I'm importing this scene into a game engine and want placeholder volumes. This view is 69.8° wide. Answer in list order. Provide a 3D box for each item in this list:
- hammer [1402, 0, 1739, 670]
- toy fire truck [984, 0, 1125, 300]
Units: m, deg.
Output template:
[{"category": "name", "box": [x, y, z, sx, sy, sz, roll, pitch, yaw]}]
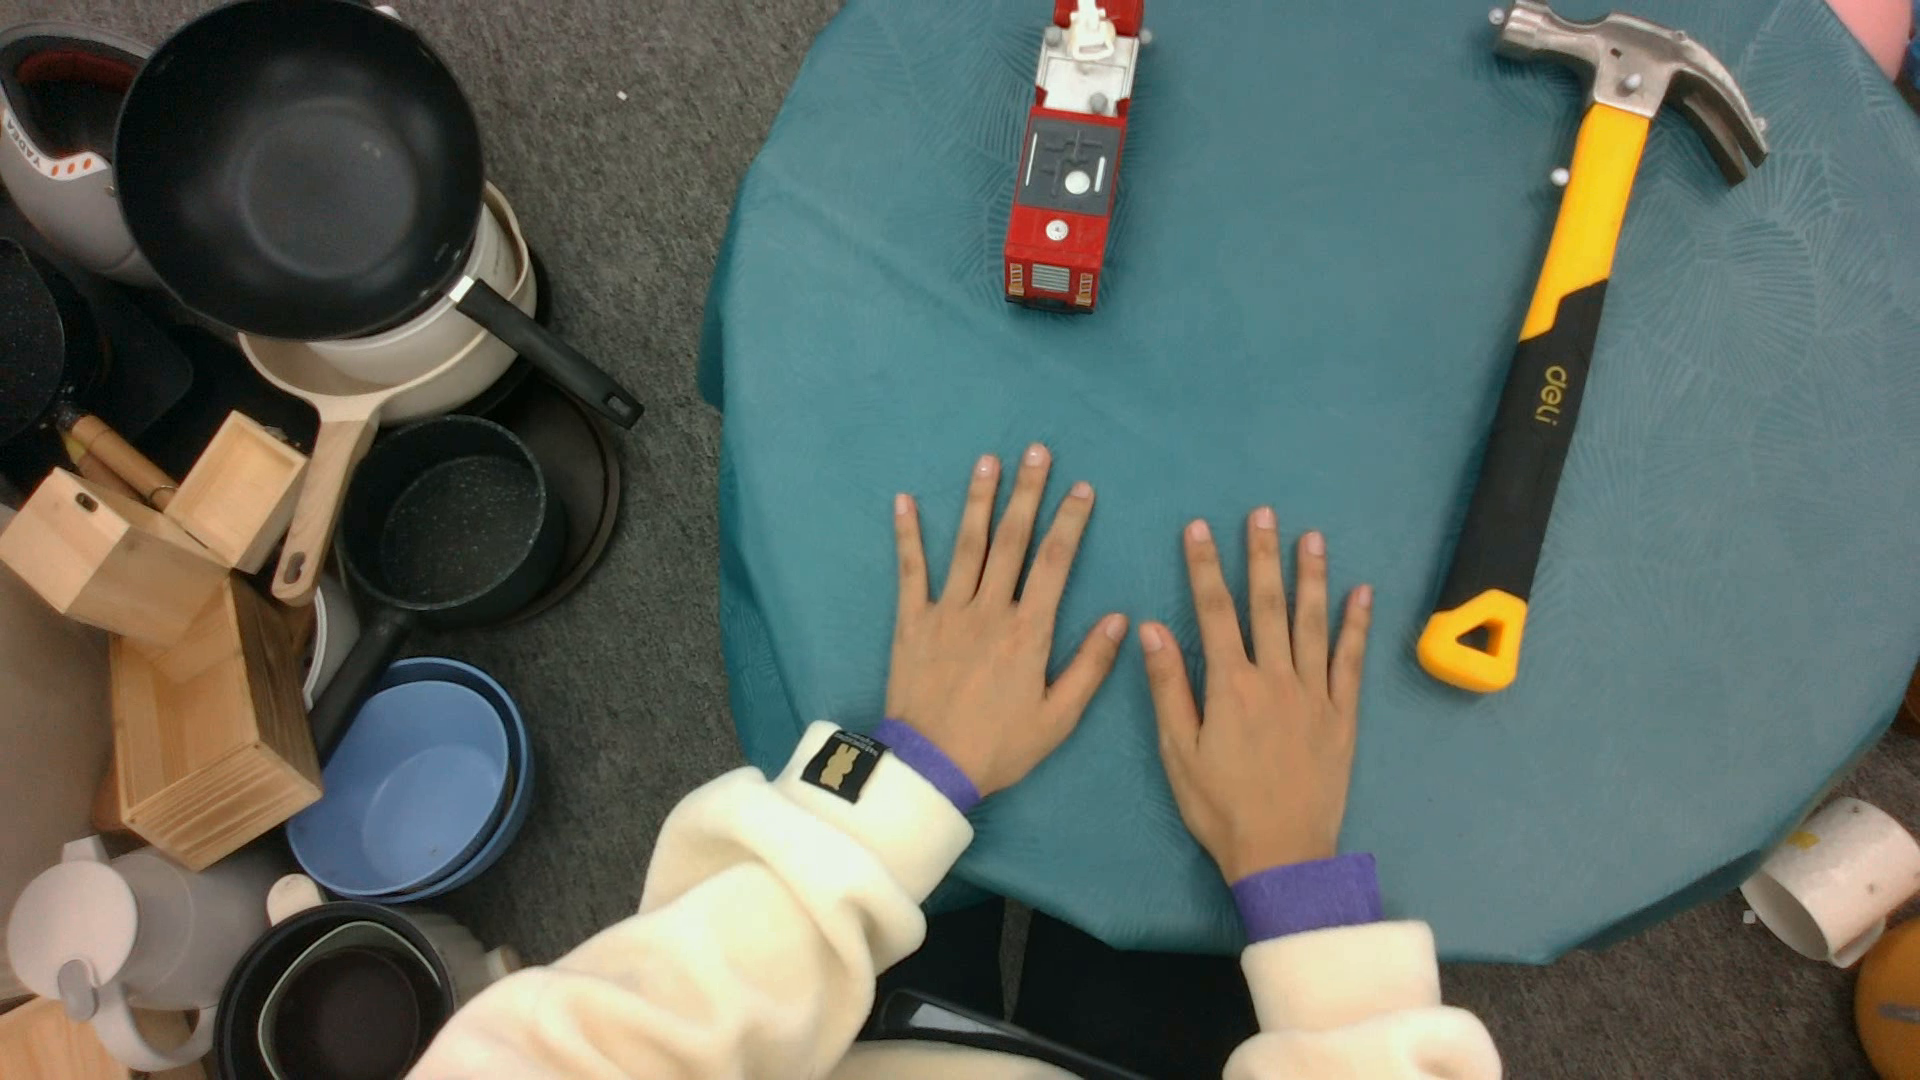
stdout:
[{"category": "hammer", "box": [0.268, -0.101, 0.642, 0.131, 0.032, 0.339, 19, 76, 5]}, {"category": "toy fire truck", "box": [0.046, -0.201, 0.663, 0.054, 0.070, 0.168, 8, 78, 4]}]
